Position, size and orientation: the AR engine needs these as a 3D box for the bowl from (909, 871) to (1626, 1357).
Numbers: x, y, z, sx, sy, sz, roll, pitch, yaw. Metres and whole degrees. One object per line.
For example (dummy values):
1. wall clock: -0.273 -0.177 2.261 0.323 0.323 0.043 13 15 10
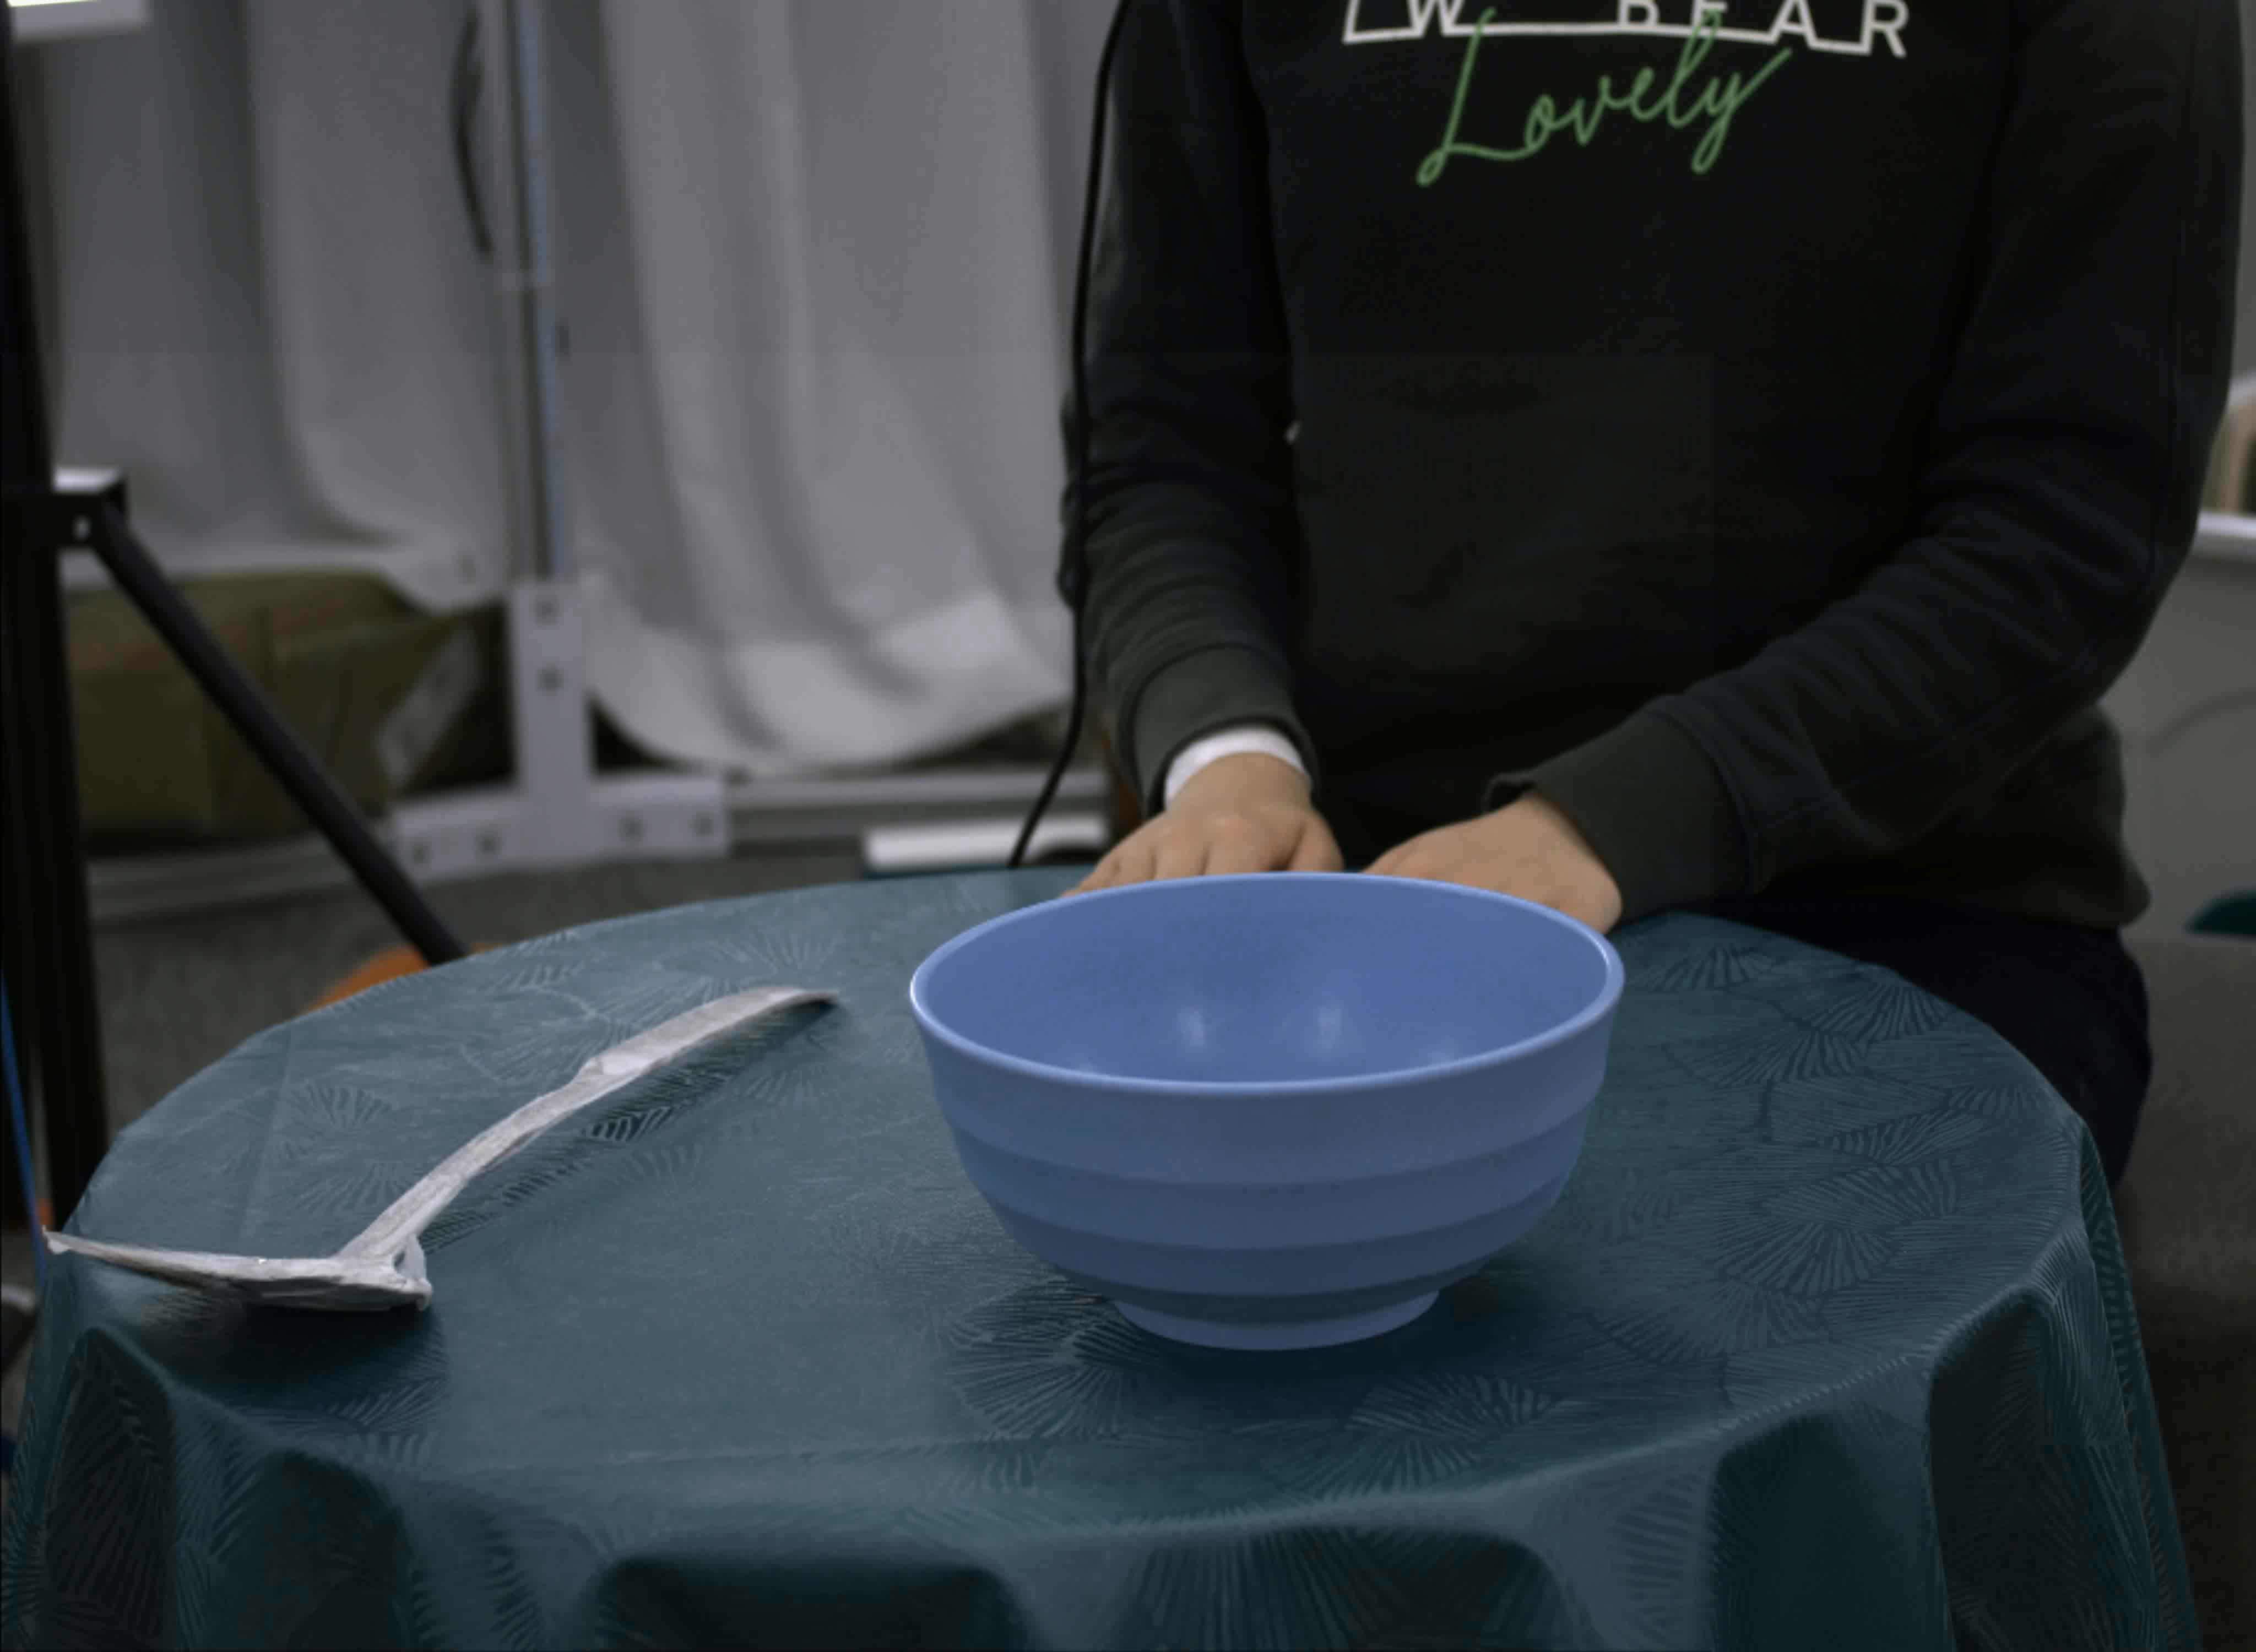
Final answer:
1. bowl: 0.040 0.085 1.460 0.195 0.095 0.197 -4 16 0

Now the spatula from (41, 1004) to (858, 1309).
1. spatula: -0.180 0.088 1.586 0.100 0.045 0.359 4 17 27
